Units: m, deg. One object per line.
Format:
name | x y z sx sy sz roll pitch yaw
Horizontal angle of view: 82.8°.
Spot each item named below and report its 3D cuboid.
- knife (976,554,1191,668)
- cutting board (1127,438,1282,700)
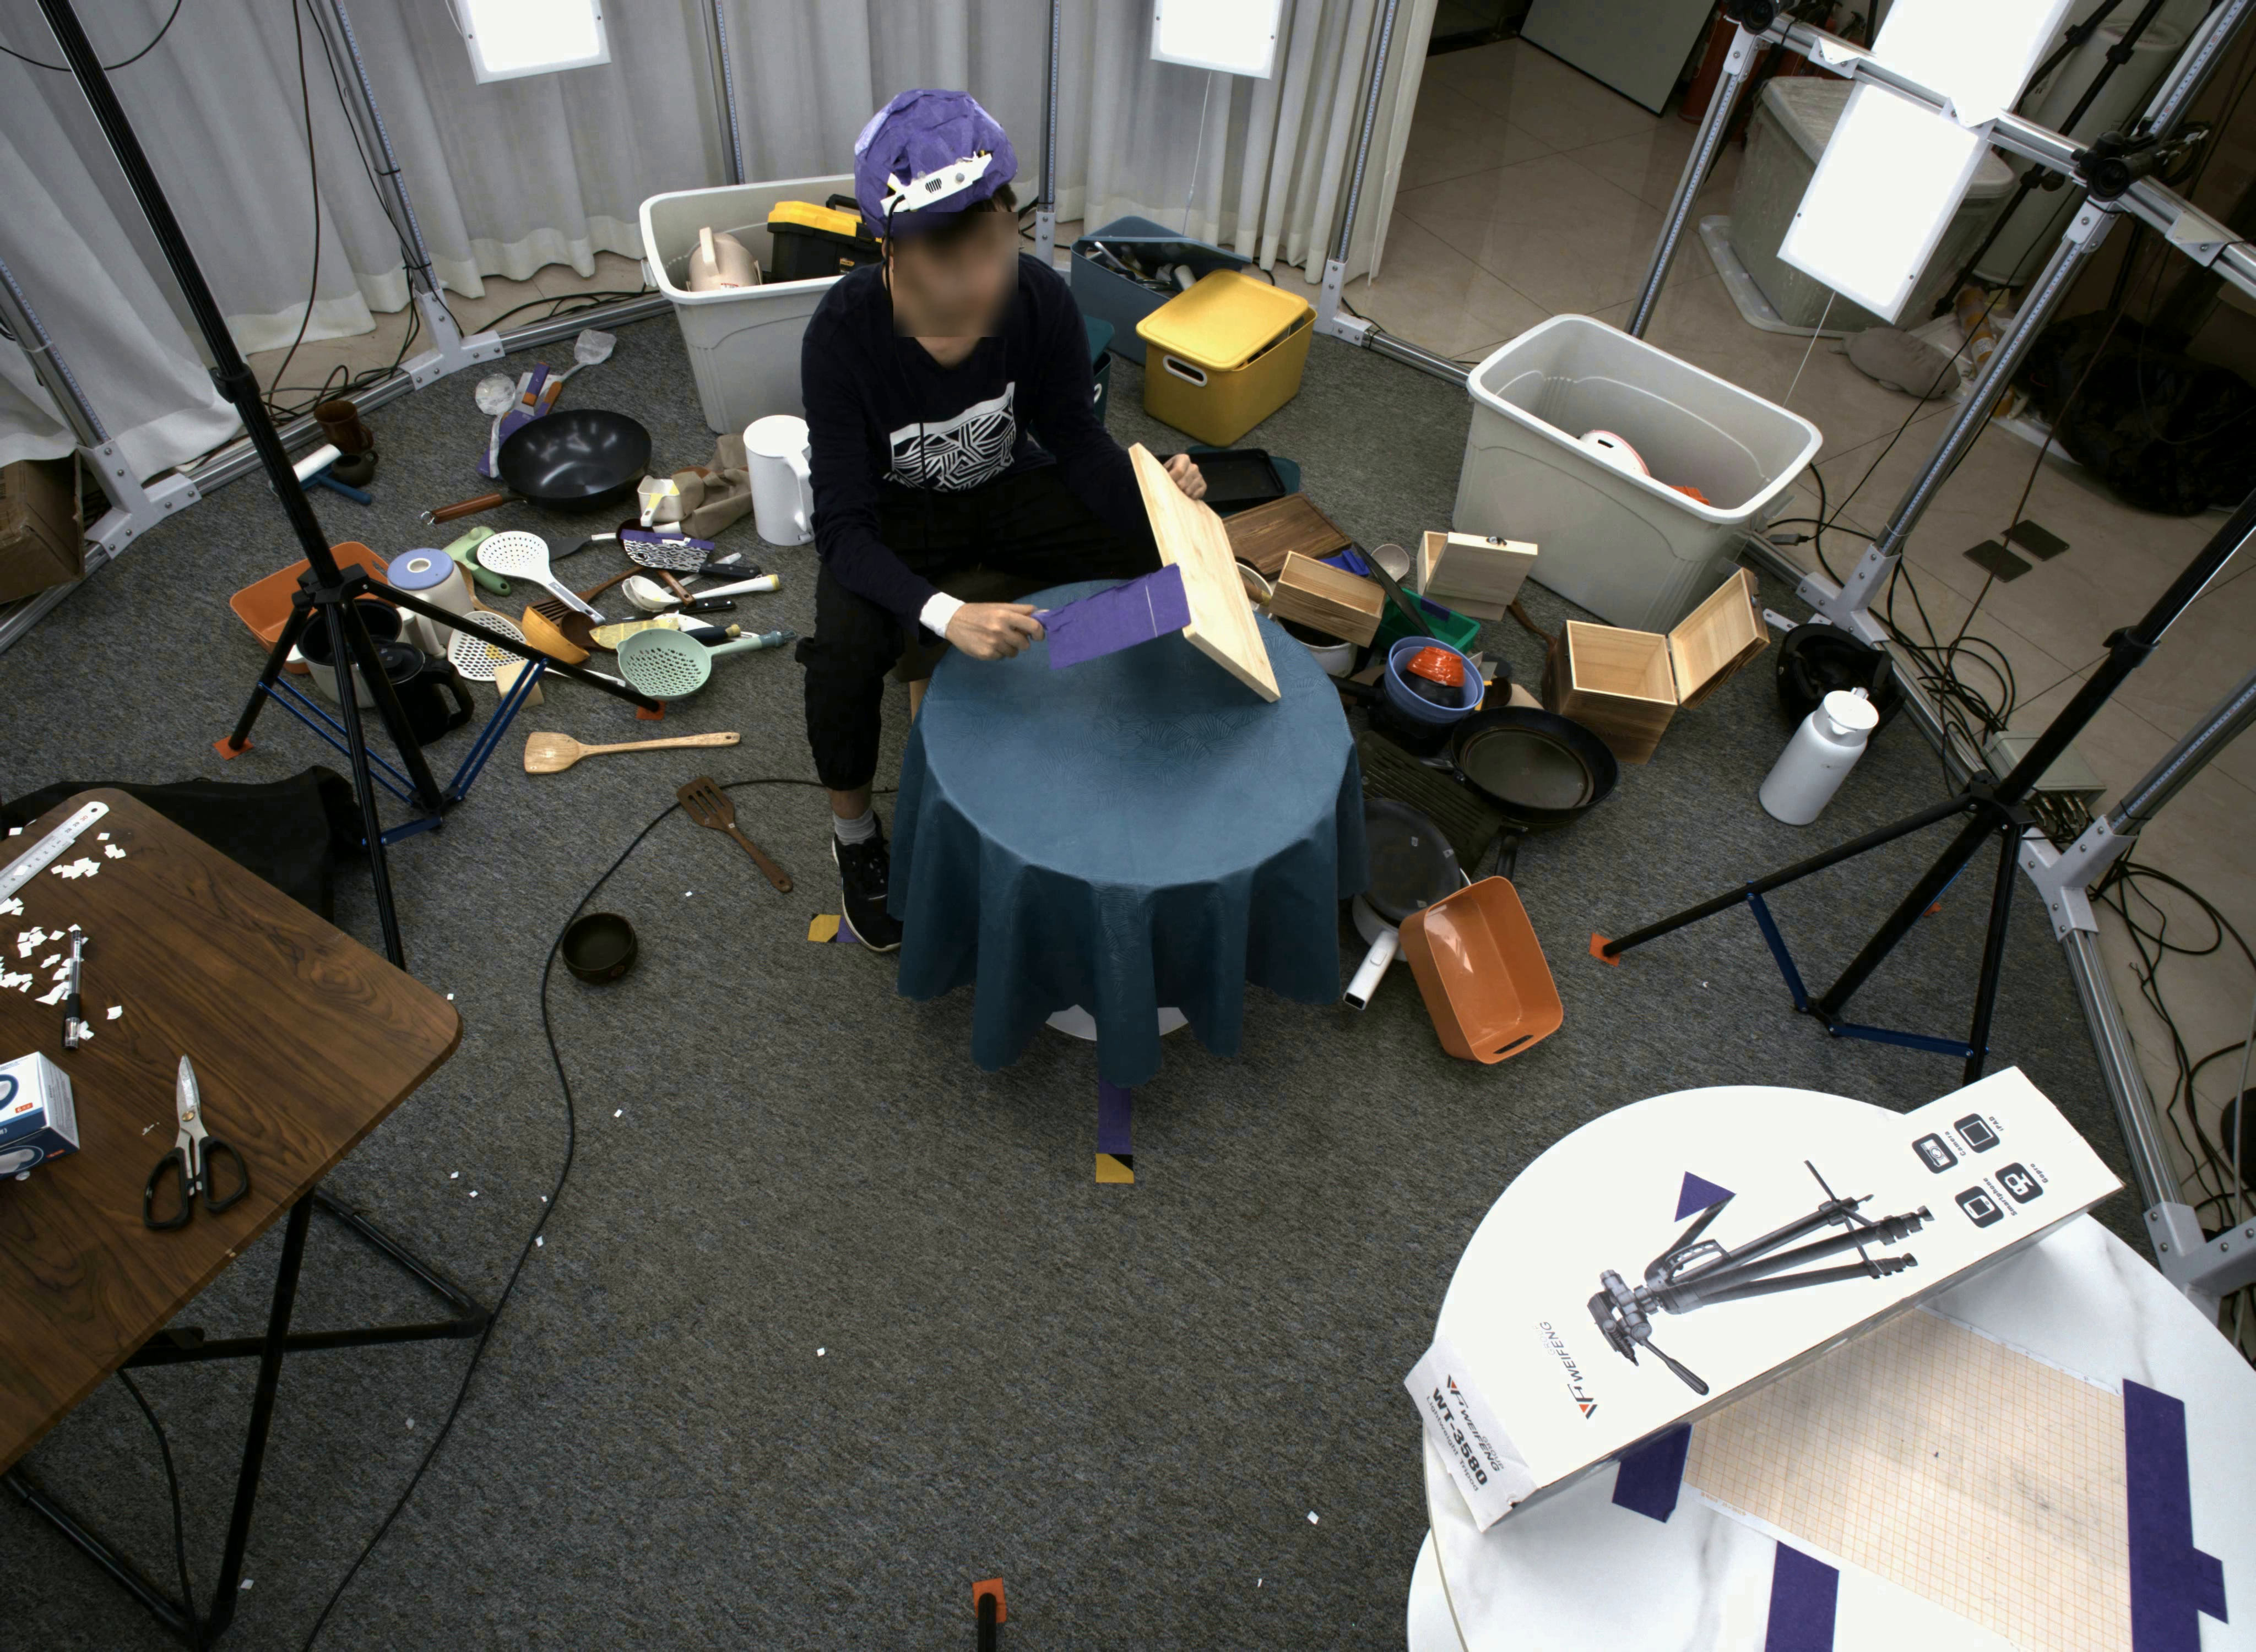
knife | -0.064 -0.268 1.724 0.314 0.032 0.105 -17 67 24
cutting board | 0.108 -0.363 1.828 0.023 0.247 0.356 -29 58 24
